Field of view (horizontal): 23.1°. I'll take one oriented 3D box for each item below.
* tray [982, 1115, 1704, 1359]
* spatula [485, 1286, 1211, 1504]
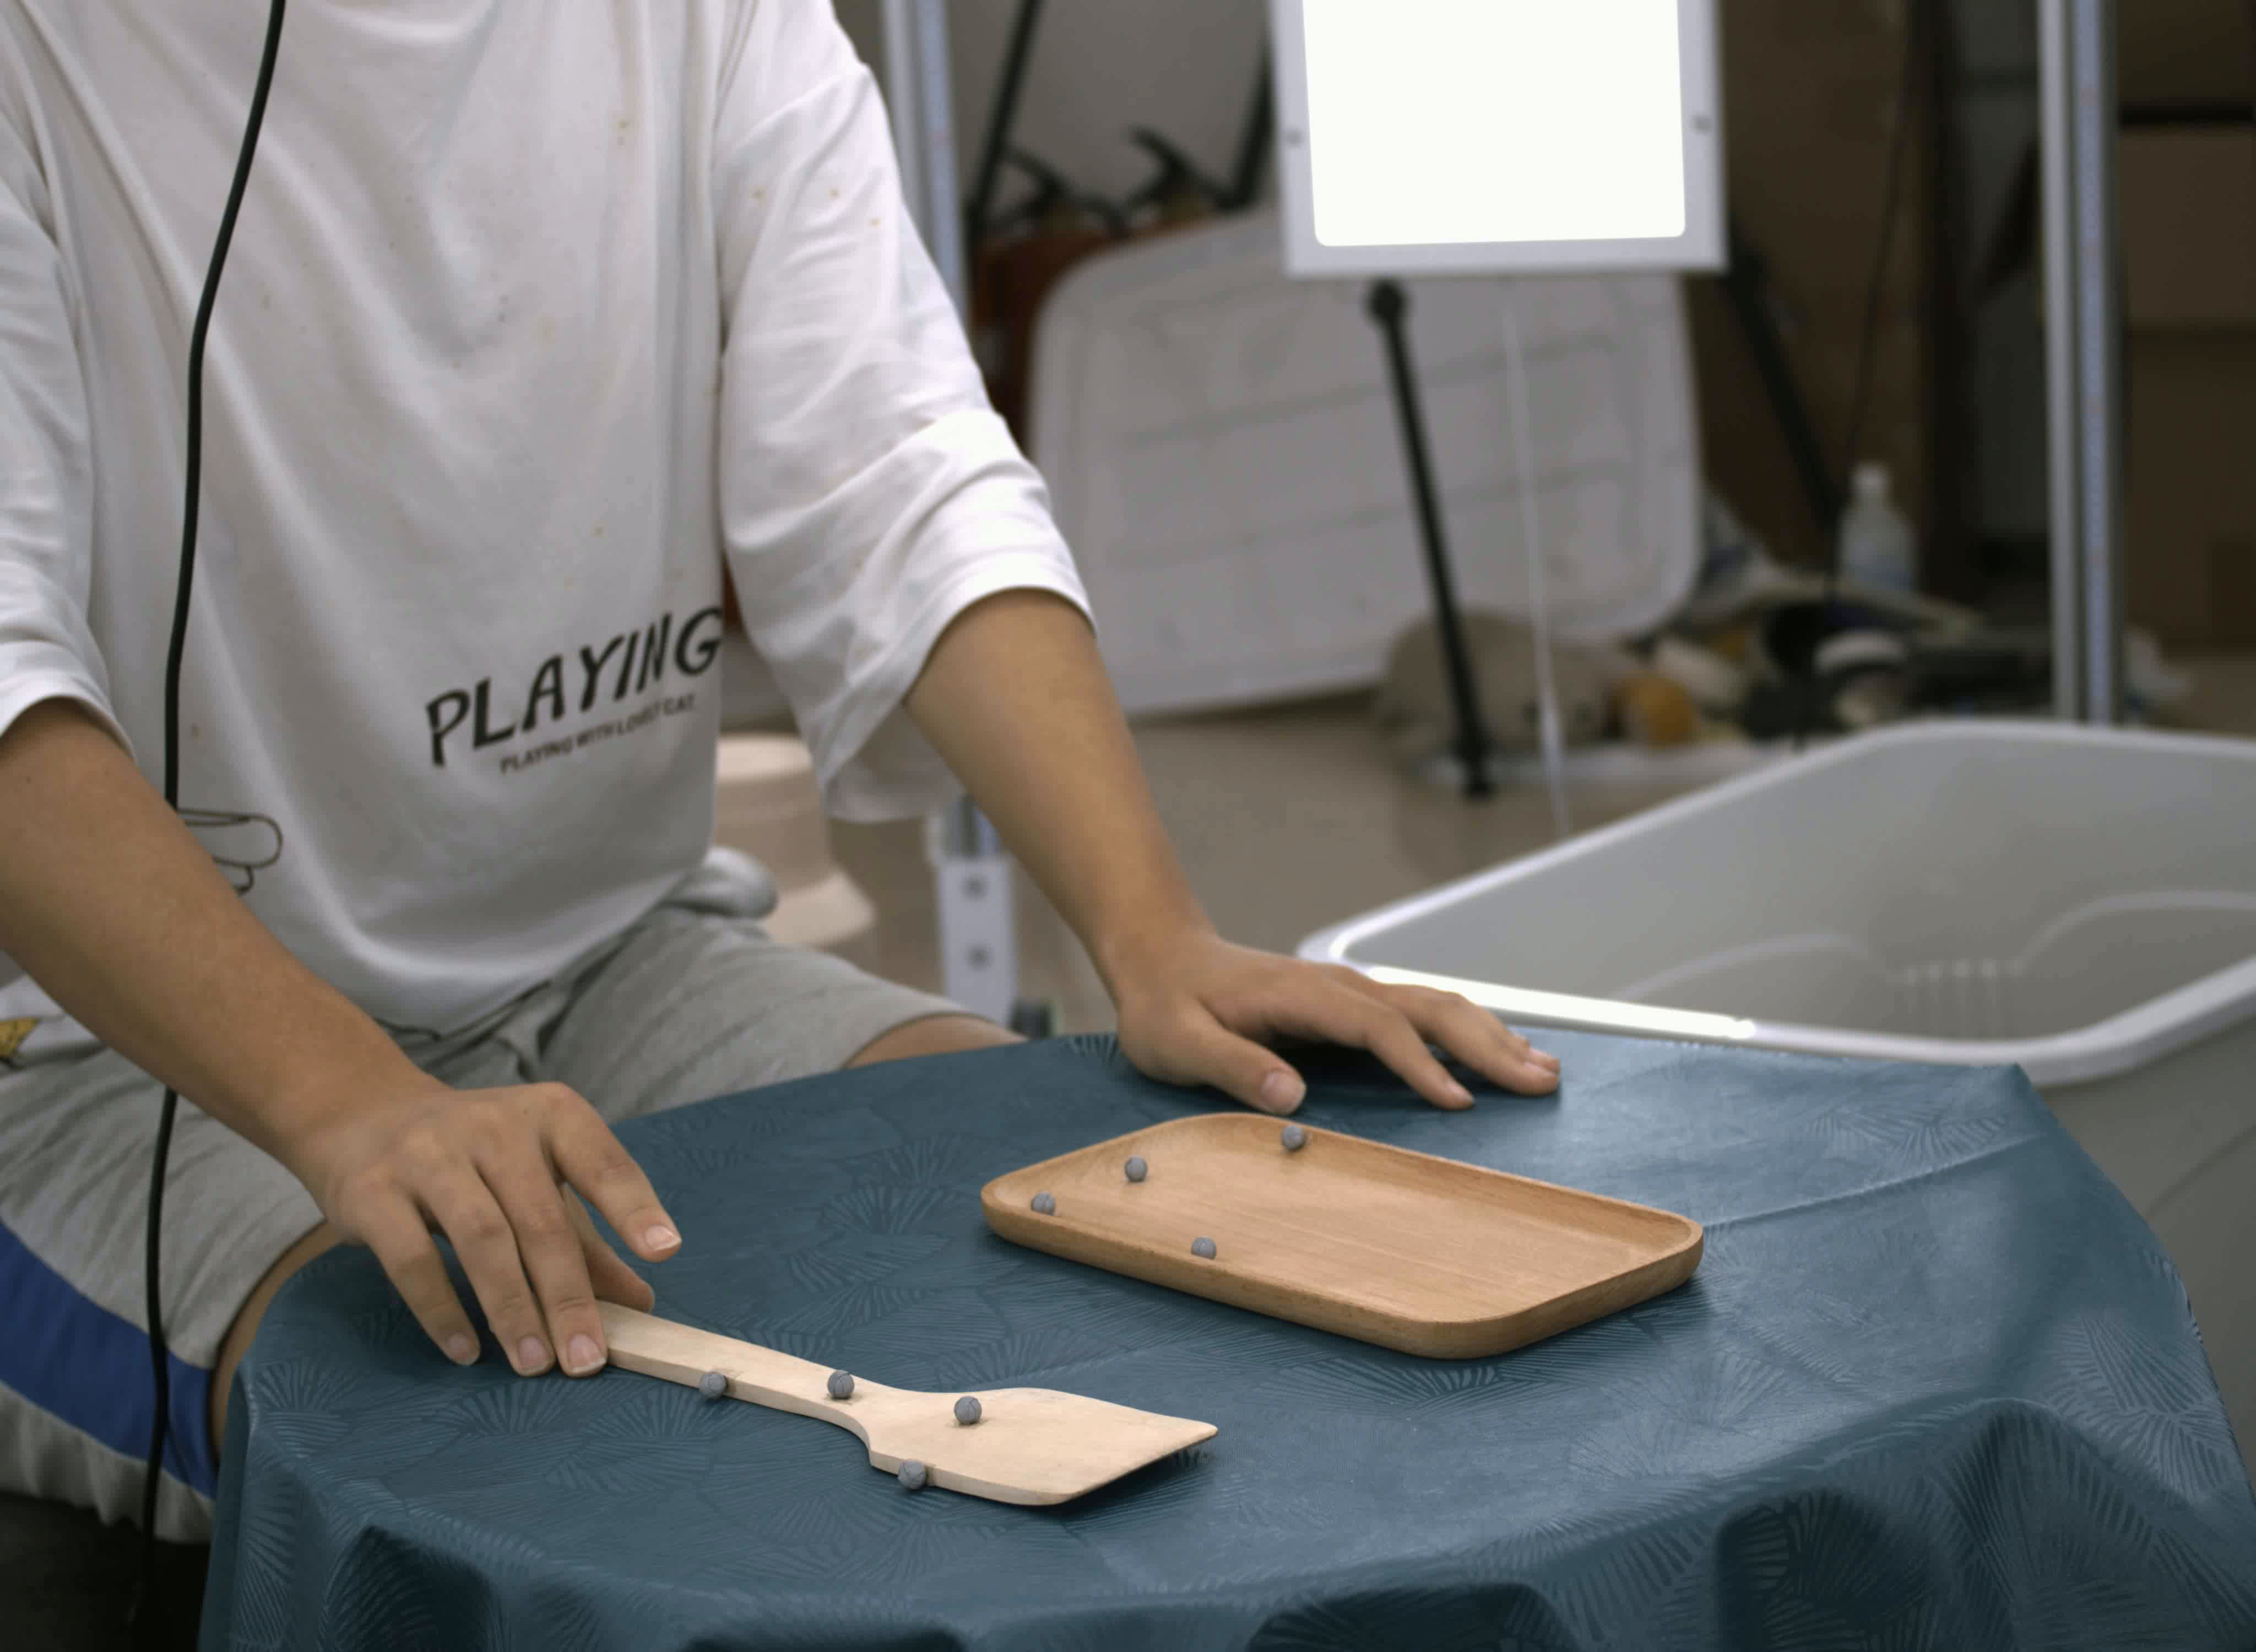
[{"bbox_3d":[0.068,0.133,1.811,0.127,0.023,0.256,-18,19,-35],"label":"tray"},{"bbox_3d":[-0.101,0.174,1.719,0.299,0.011,0.070,8,20,45],"label":"spatula"}]
